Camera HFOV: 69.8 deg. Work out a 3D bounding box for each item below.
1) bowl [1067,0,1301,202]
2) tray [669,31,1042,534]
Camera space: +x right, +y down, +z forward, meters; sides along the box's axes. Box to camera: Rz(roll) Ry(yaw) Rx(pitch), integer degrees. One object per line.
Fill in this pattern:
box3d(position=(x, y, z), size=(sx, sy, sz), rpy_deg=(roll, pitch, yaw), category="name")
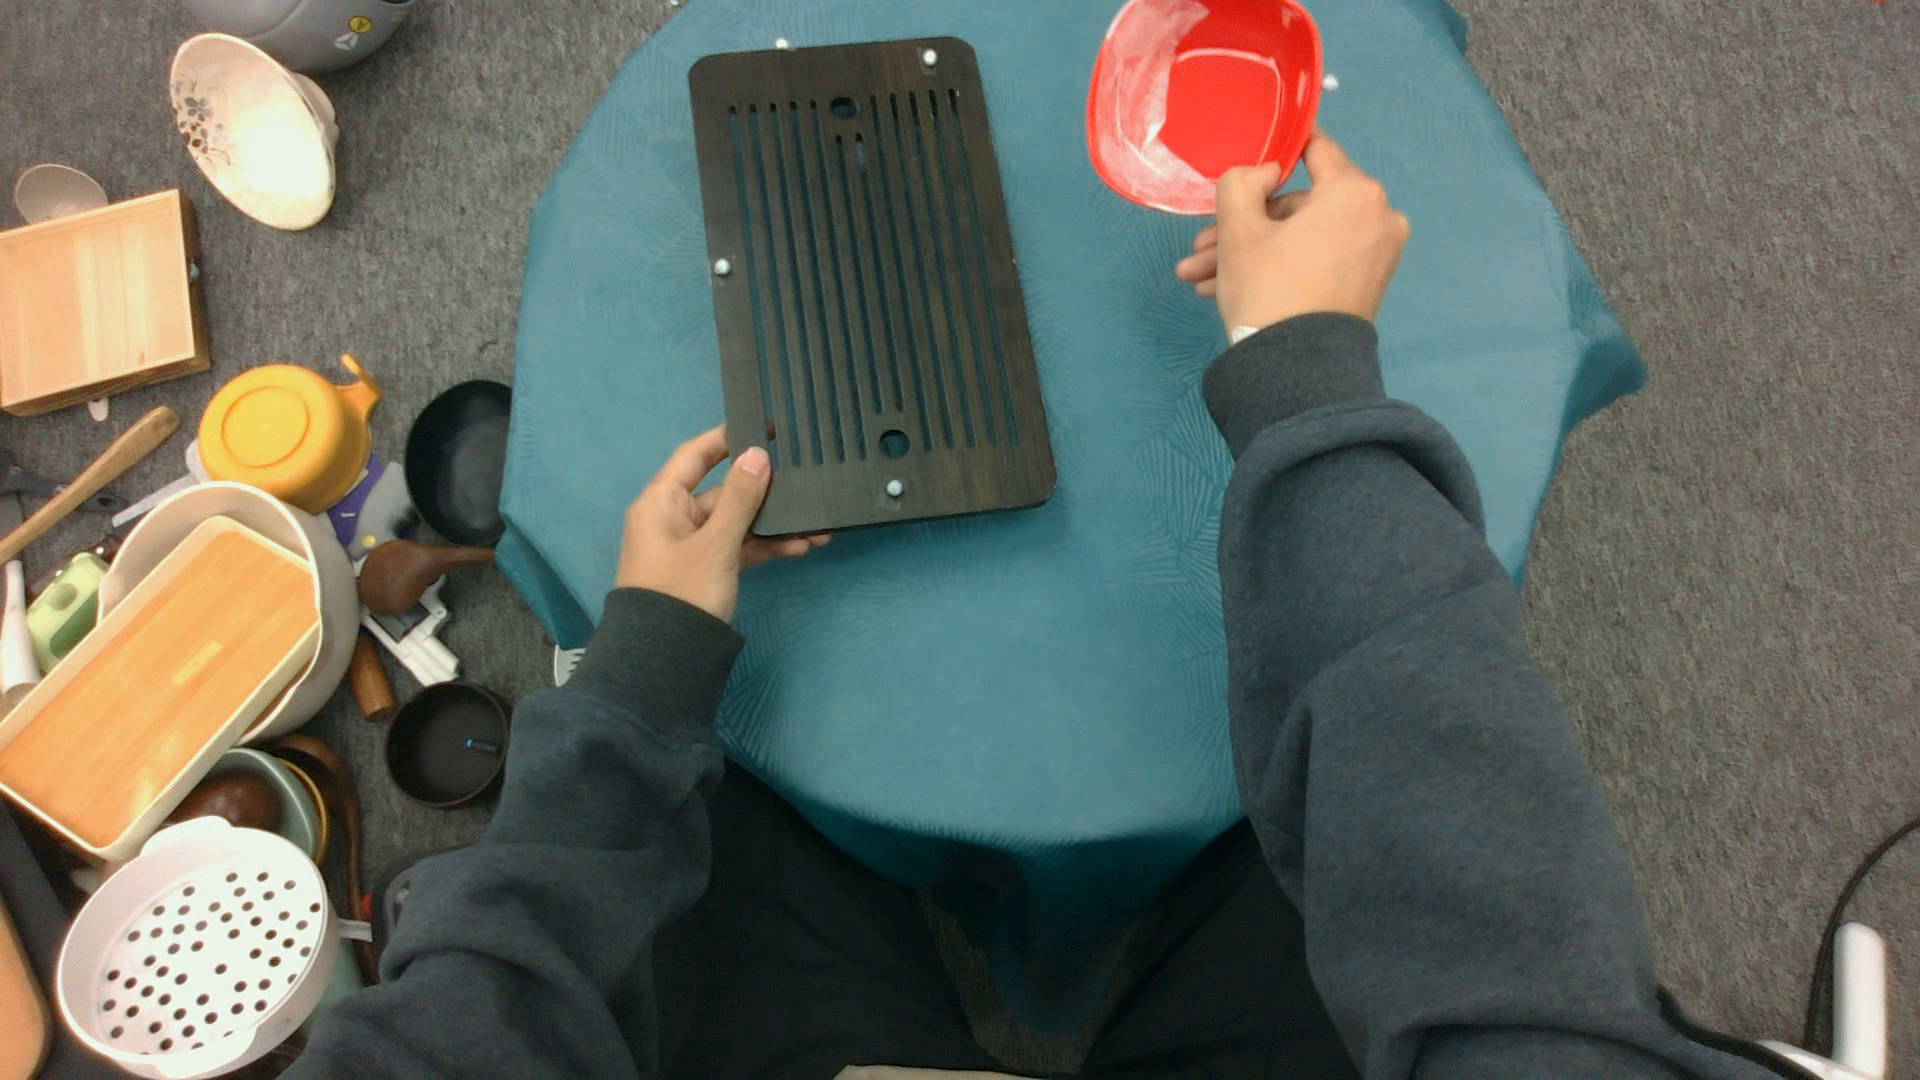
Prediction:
box3d(position=(0.113, -0.219, 0.676), size=(0.119, 0.051, 0.119), rpy_deg=(2, 95, 19), category="bowl")
box3d(position=(-0.063, -0.152, 0.766), size=(0.170, 0.018, 0.307), rpy_deg=(-7, 69, -7), category="tray")
